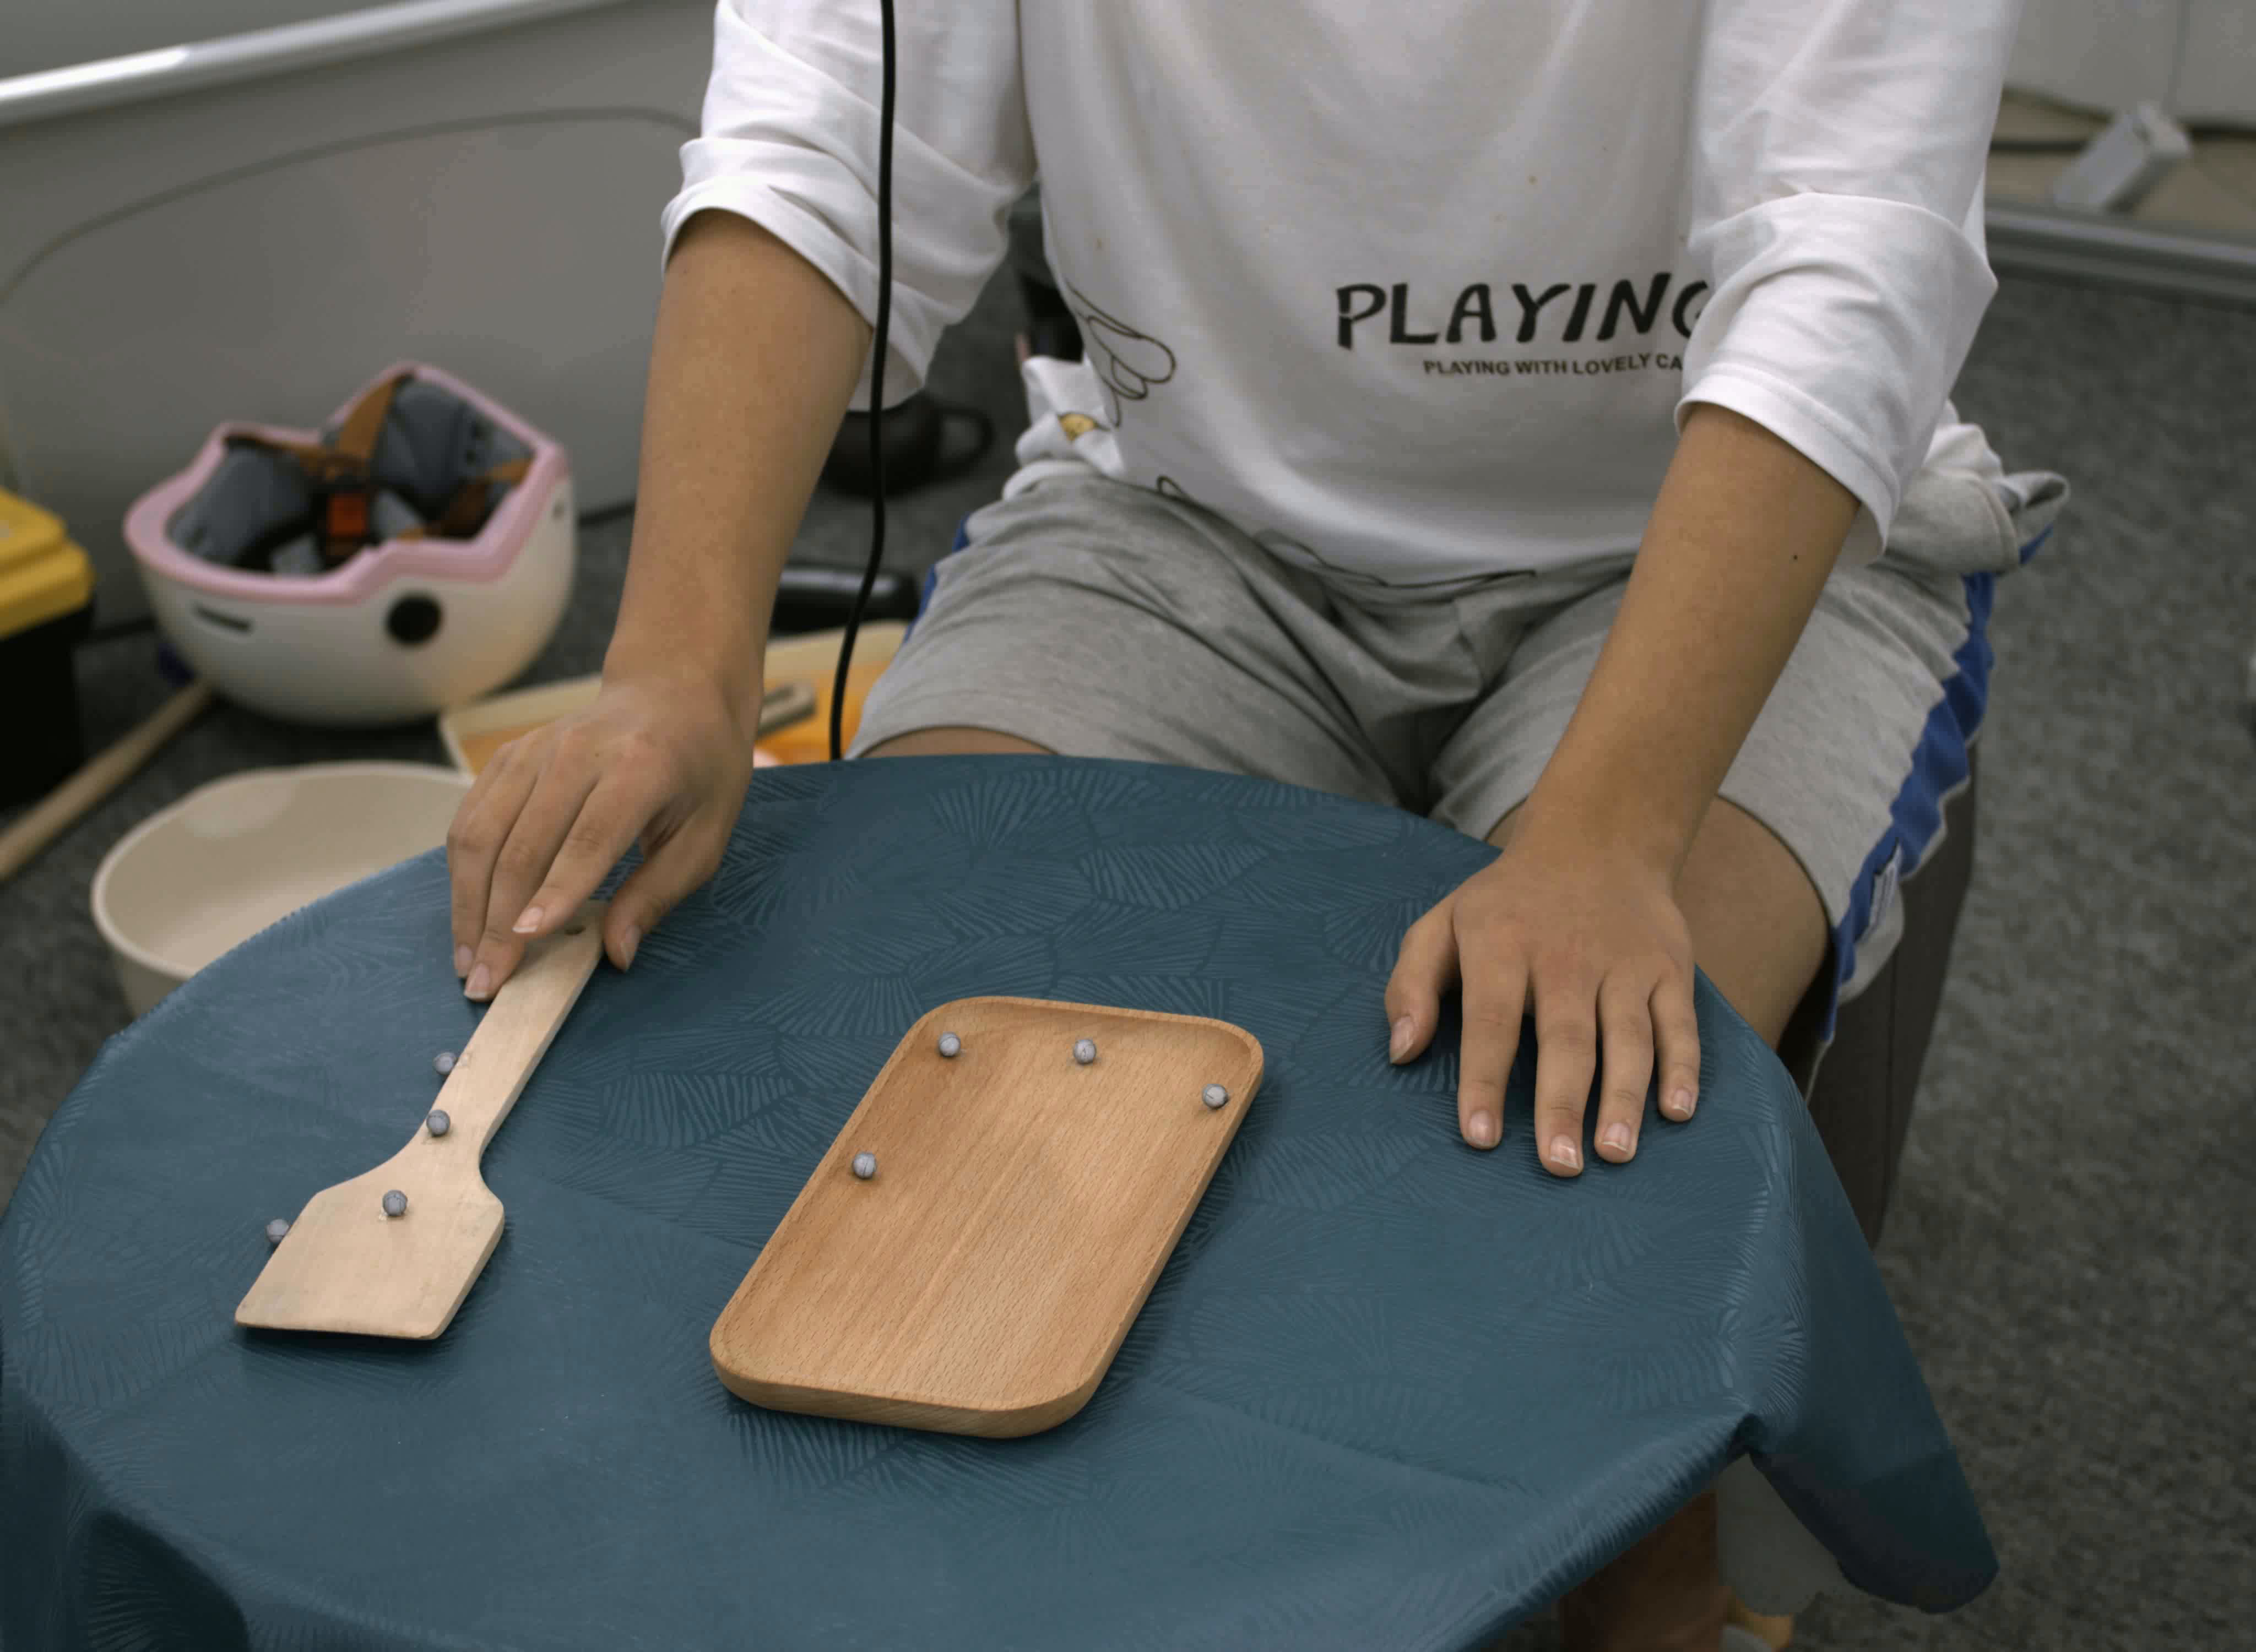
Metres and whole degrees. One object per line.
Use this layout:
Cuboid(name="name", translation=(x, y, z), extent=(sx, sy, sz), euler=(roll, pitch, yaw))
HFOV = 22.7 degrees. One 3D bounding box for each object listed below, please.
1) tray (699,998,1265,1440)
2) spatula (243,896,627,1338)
Cuboid(name="tray", translation=(-0.044, 0.126, 1.842), extent=(0.129, 0.022, 0.255), euler=(4, 28, 18))
Cuboid(name="spatula", translation=(-0.224, 0.096, 1.923), extent=(0.072, 0.010, 0.298), euler=(2, 28, 11))
